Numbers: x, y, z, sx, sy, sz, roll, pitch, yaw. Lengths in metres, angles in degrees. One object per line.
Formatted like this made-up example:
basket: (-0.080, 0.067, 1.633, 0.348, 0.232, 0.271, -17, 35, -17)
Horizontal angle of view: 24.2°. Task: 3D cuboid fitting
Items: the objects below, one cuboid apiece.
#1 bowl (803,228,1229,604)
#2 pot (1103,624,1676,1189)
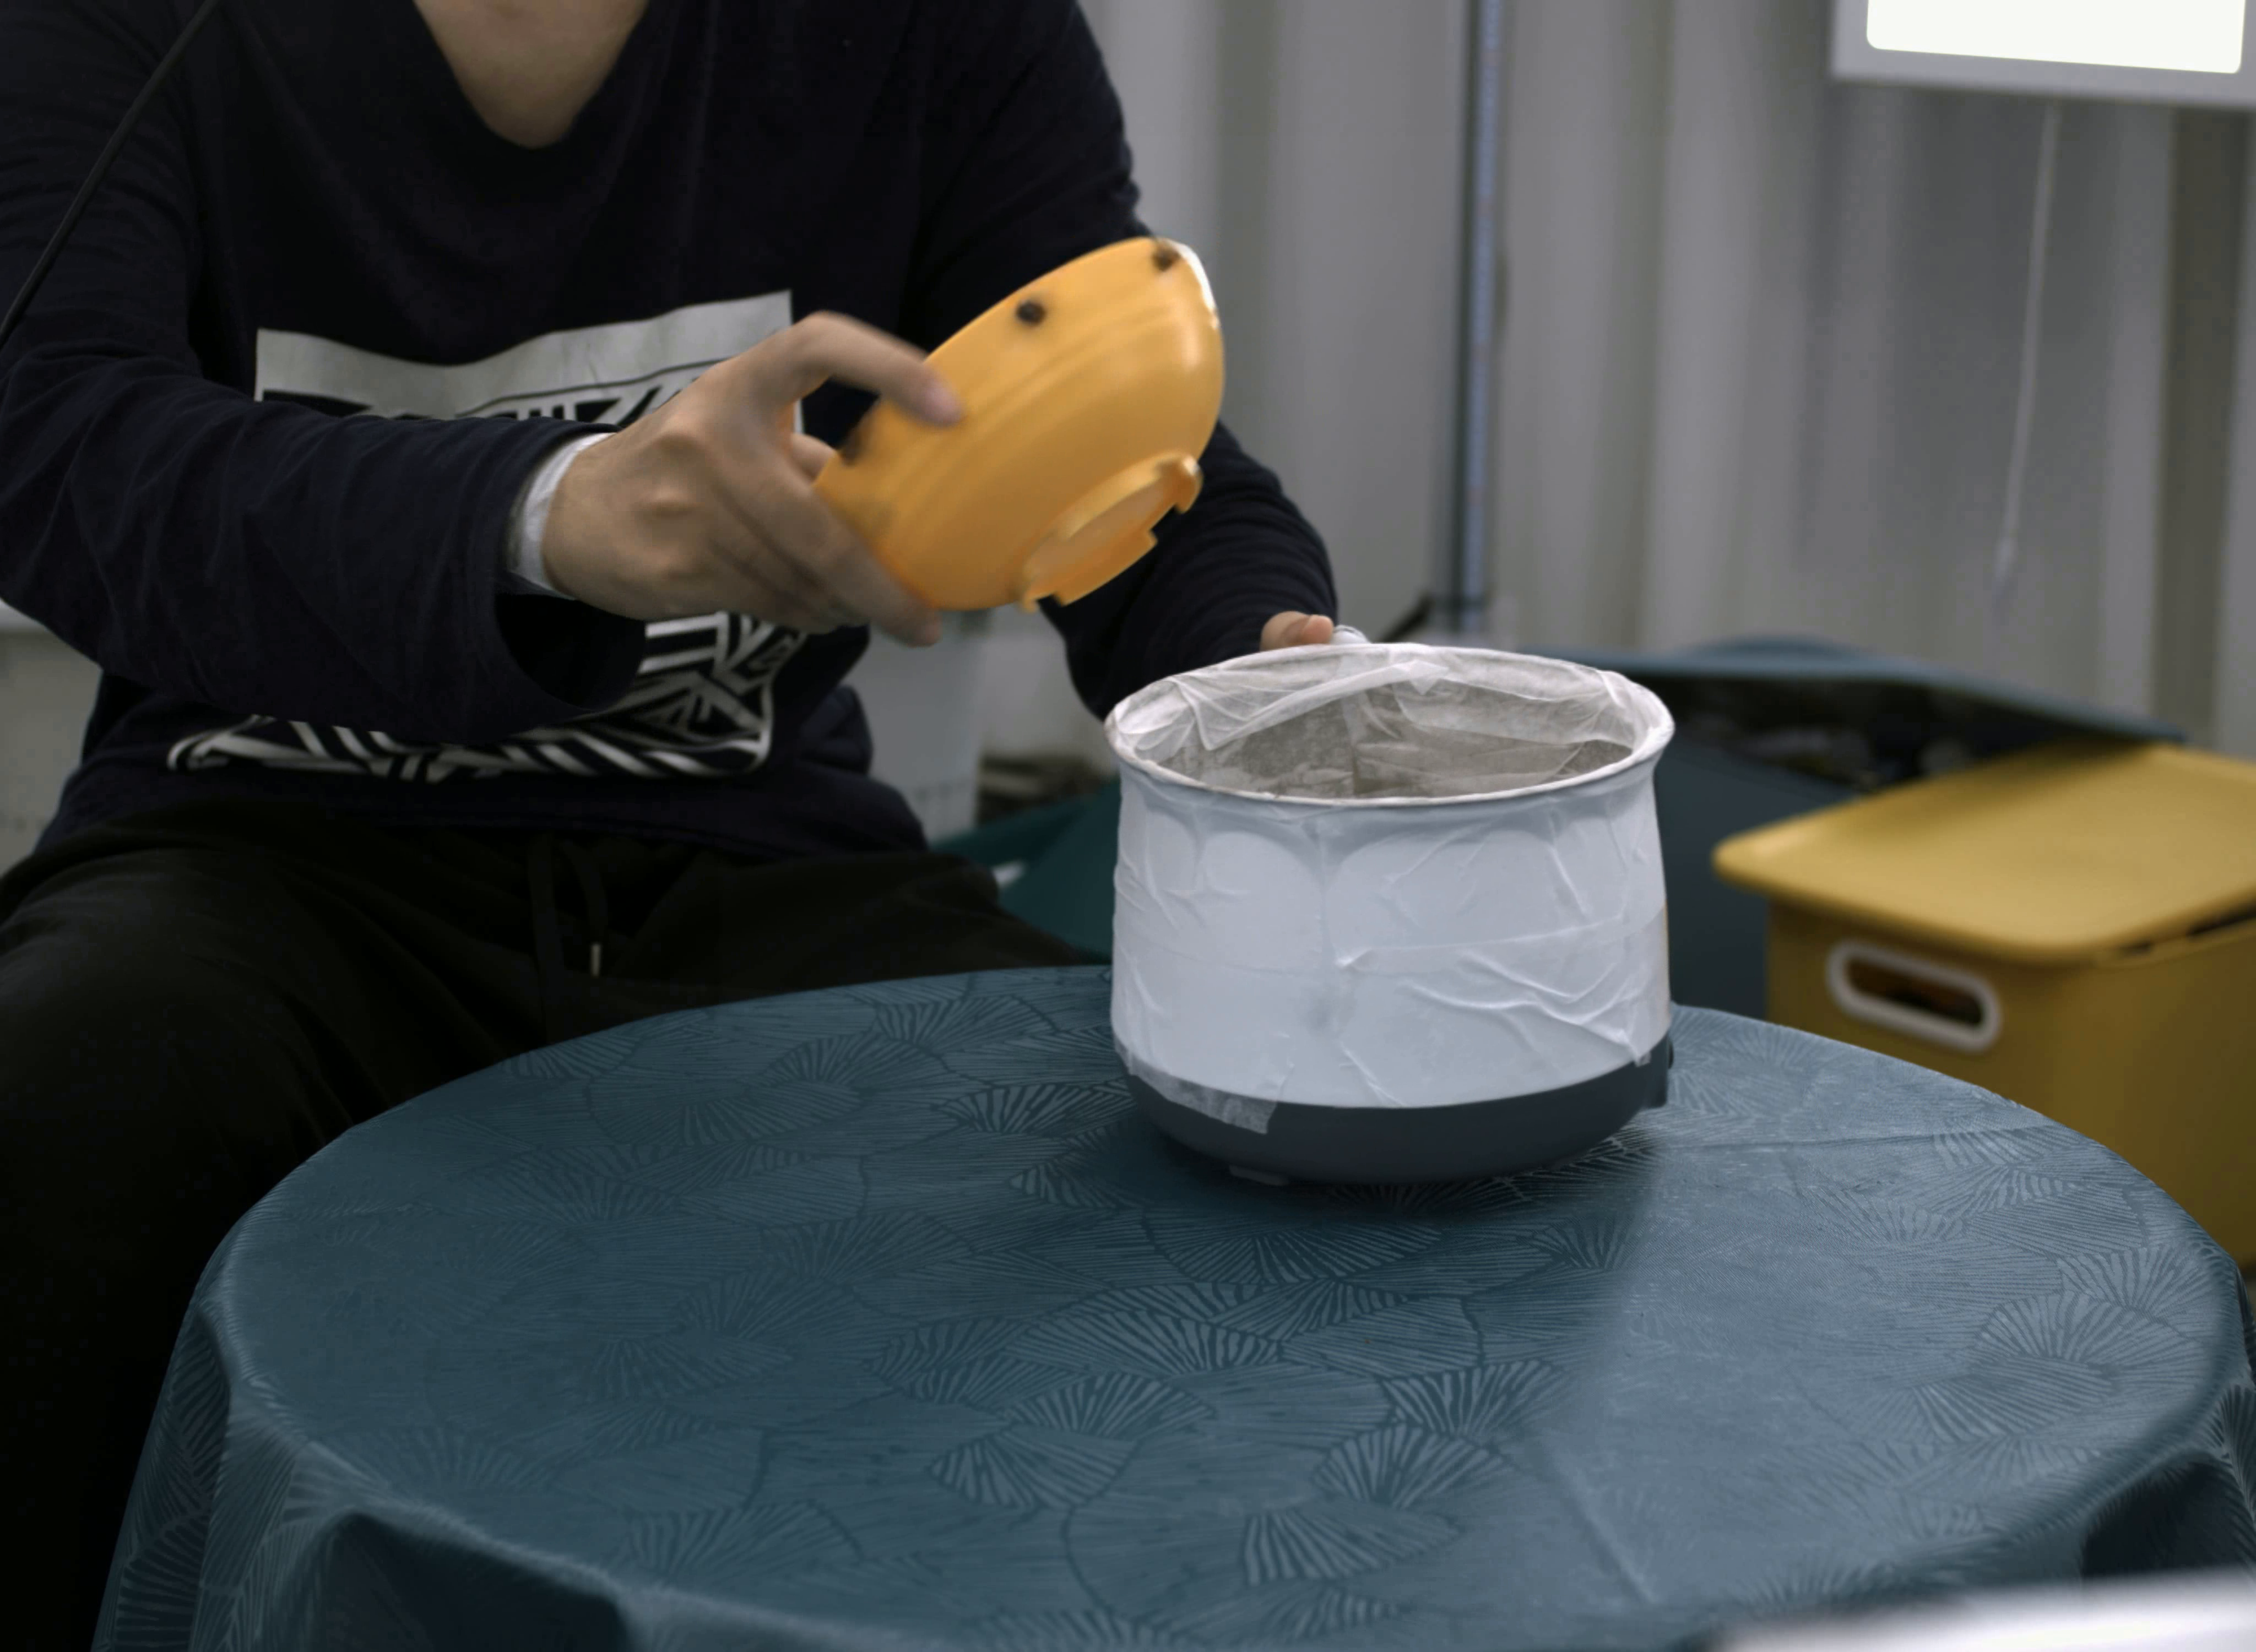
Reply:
bowl: (-0.021, -0.109, 1.564, 0.146, 0.145, 0.060, -18, 67, -49)
pot: (0.077, 0.020, 1.678, 0.178, 0.138, 0.232, -1, 18, -8)
